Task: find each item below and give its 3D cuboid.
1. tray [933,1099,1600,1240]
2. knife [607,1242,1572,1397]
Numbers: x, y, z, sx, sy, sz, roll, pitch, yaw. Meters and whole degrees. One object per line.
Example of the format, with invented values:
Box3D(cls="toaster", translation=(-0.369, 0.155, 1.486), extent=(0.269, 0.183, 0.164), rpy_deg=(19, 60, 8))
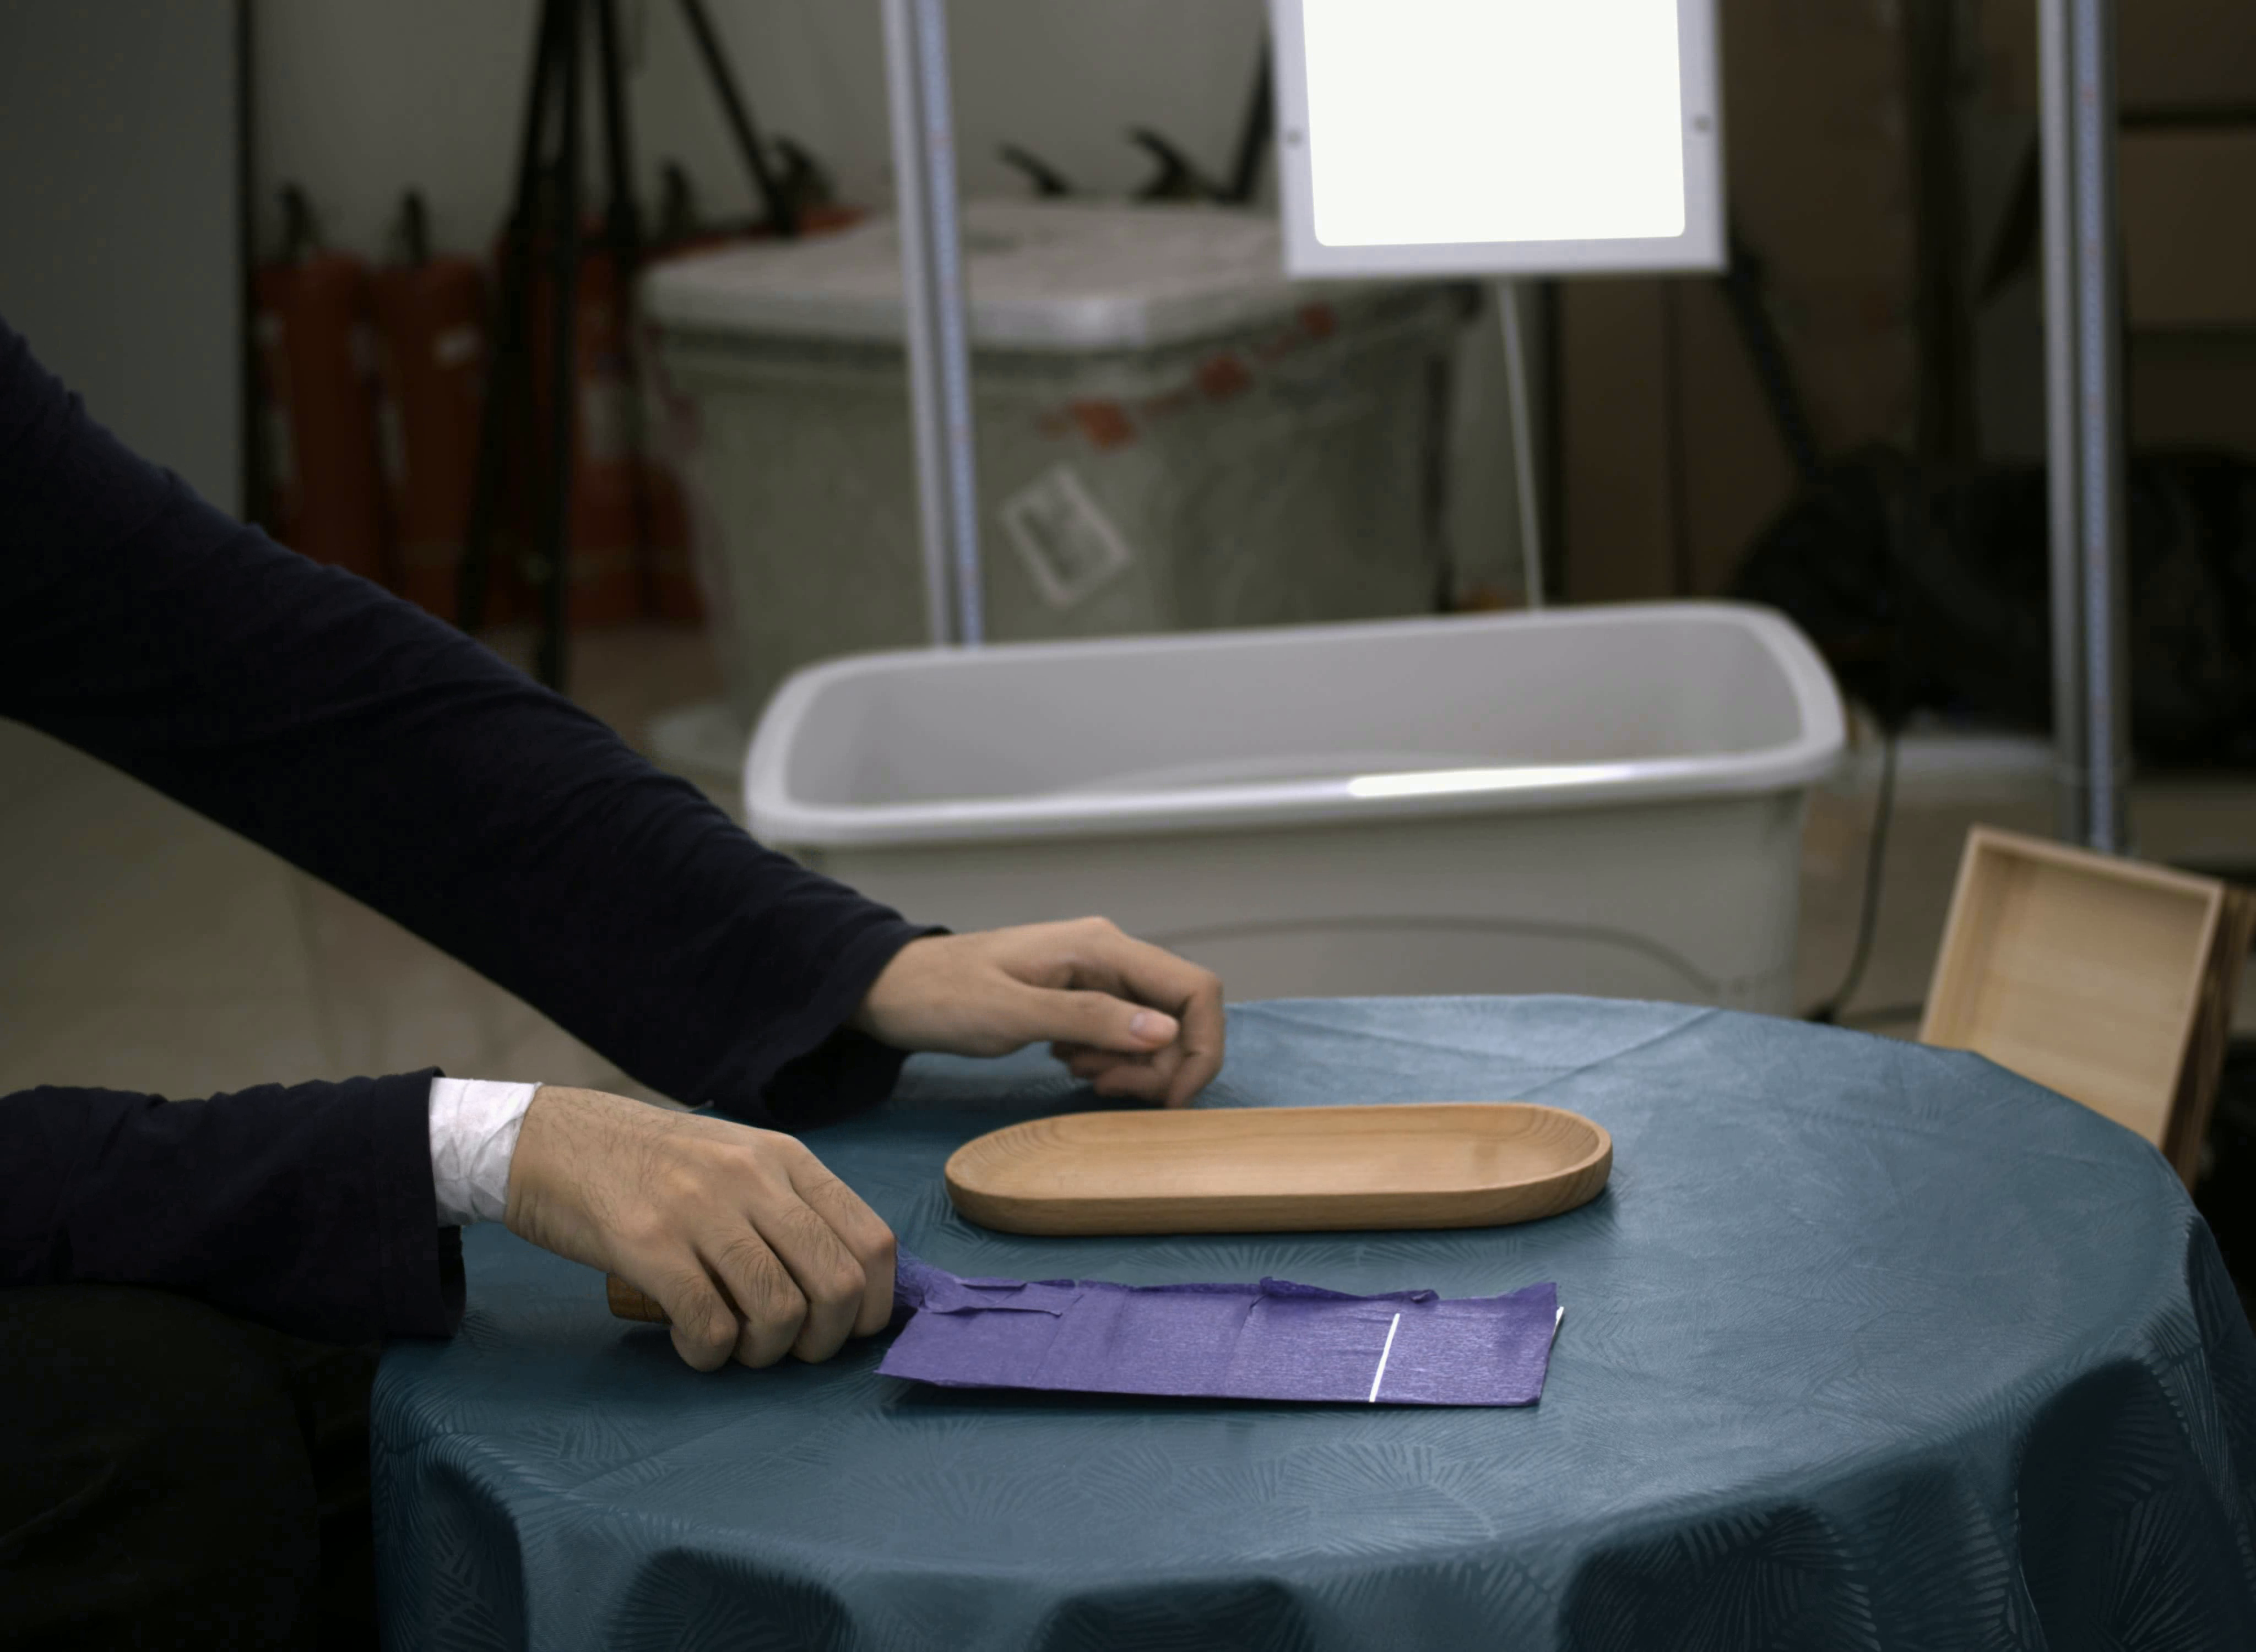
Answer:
Box3D(cls="tray", translation=(0.047, 0.118, 1.886), extent=(0.233, 0.020, 0.100), rpy_deg=(-4, 12, 12))
Box3D(cls="knife", translation=(-0.019, 0.156, 1.734), extent=(0.318, 0.032, 0.102), rpy_deg=(-1, 14, 13))
